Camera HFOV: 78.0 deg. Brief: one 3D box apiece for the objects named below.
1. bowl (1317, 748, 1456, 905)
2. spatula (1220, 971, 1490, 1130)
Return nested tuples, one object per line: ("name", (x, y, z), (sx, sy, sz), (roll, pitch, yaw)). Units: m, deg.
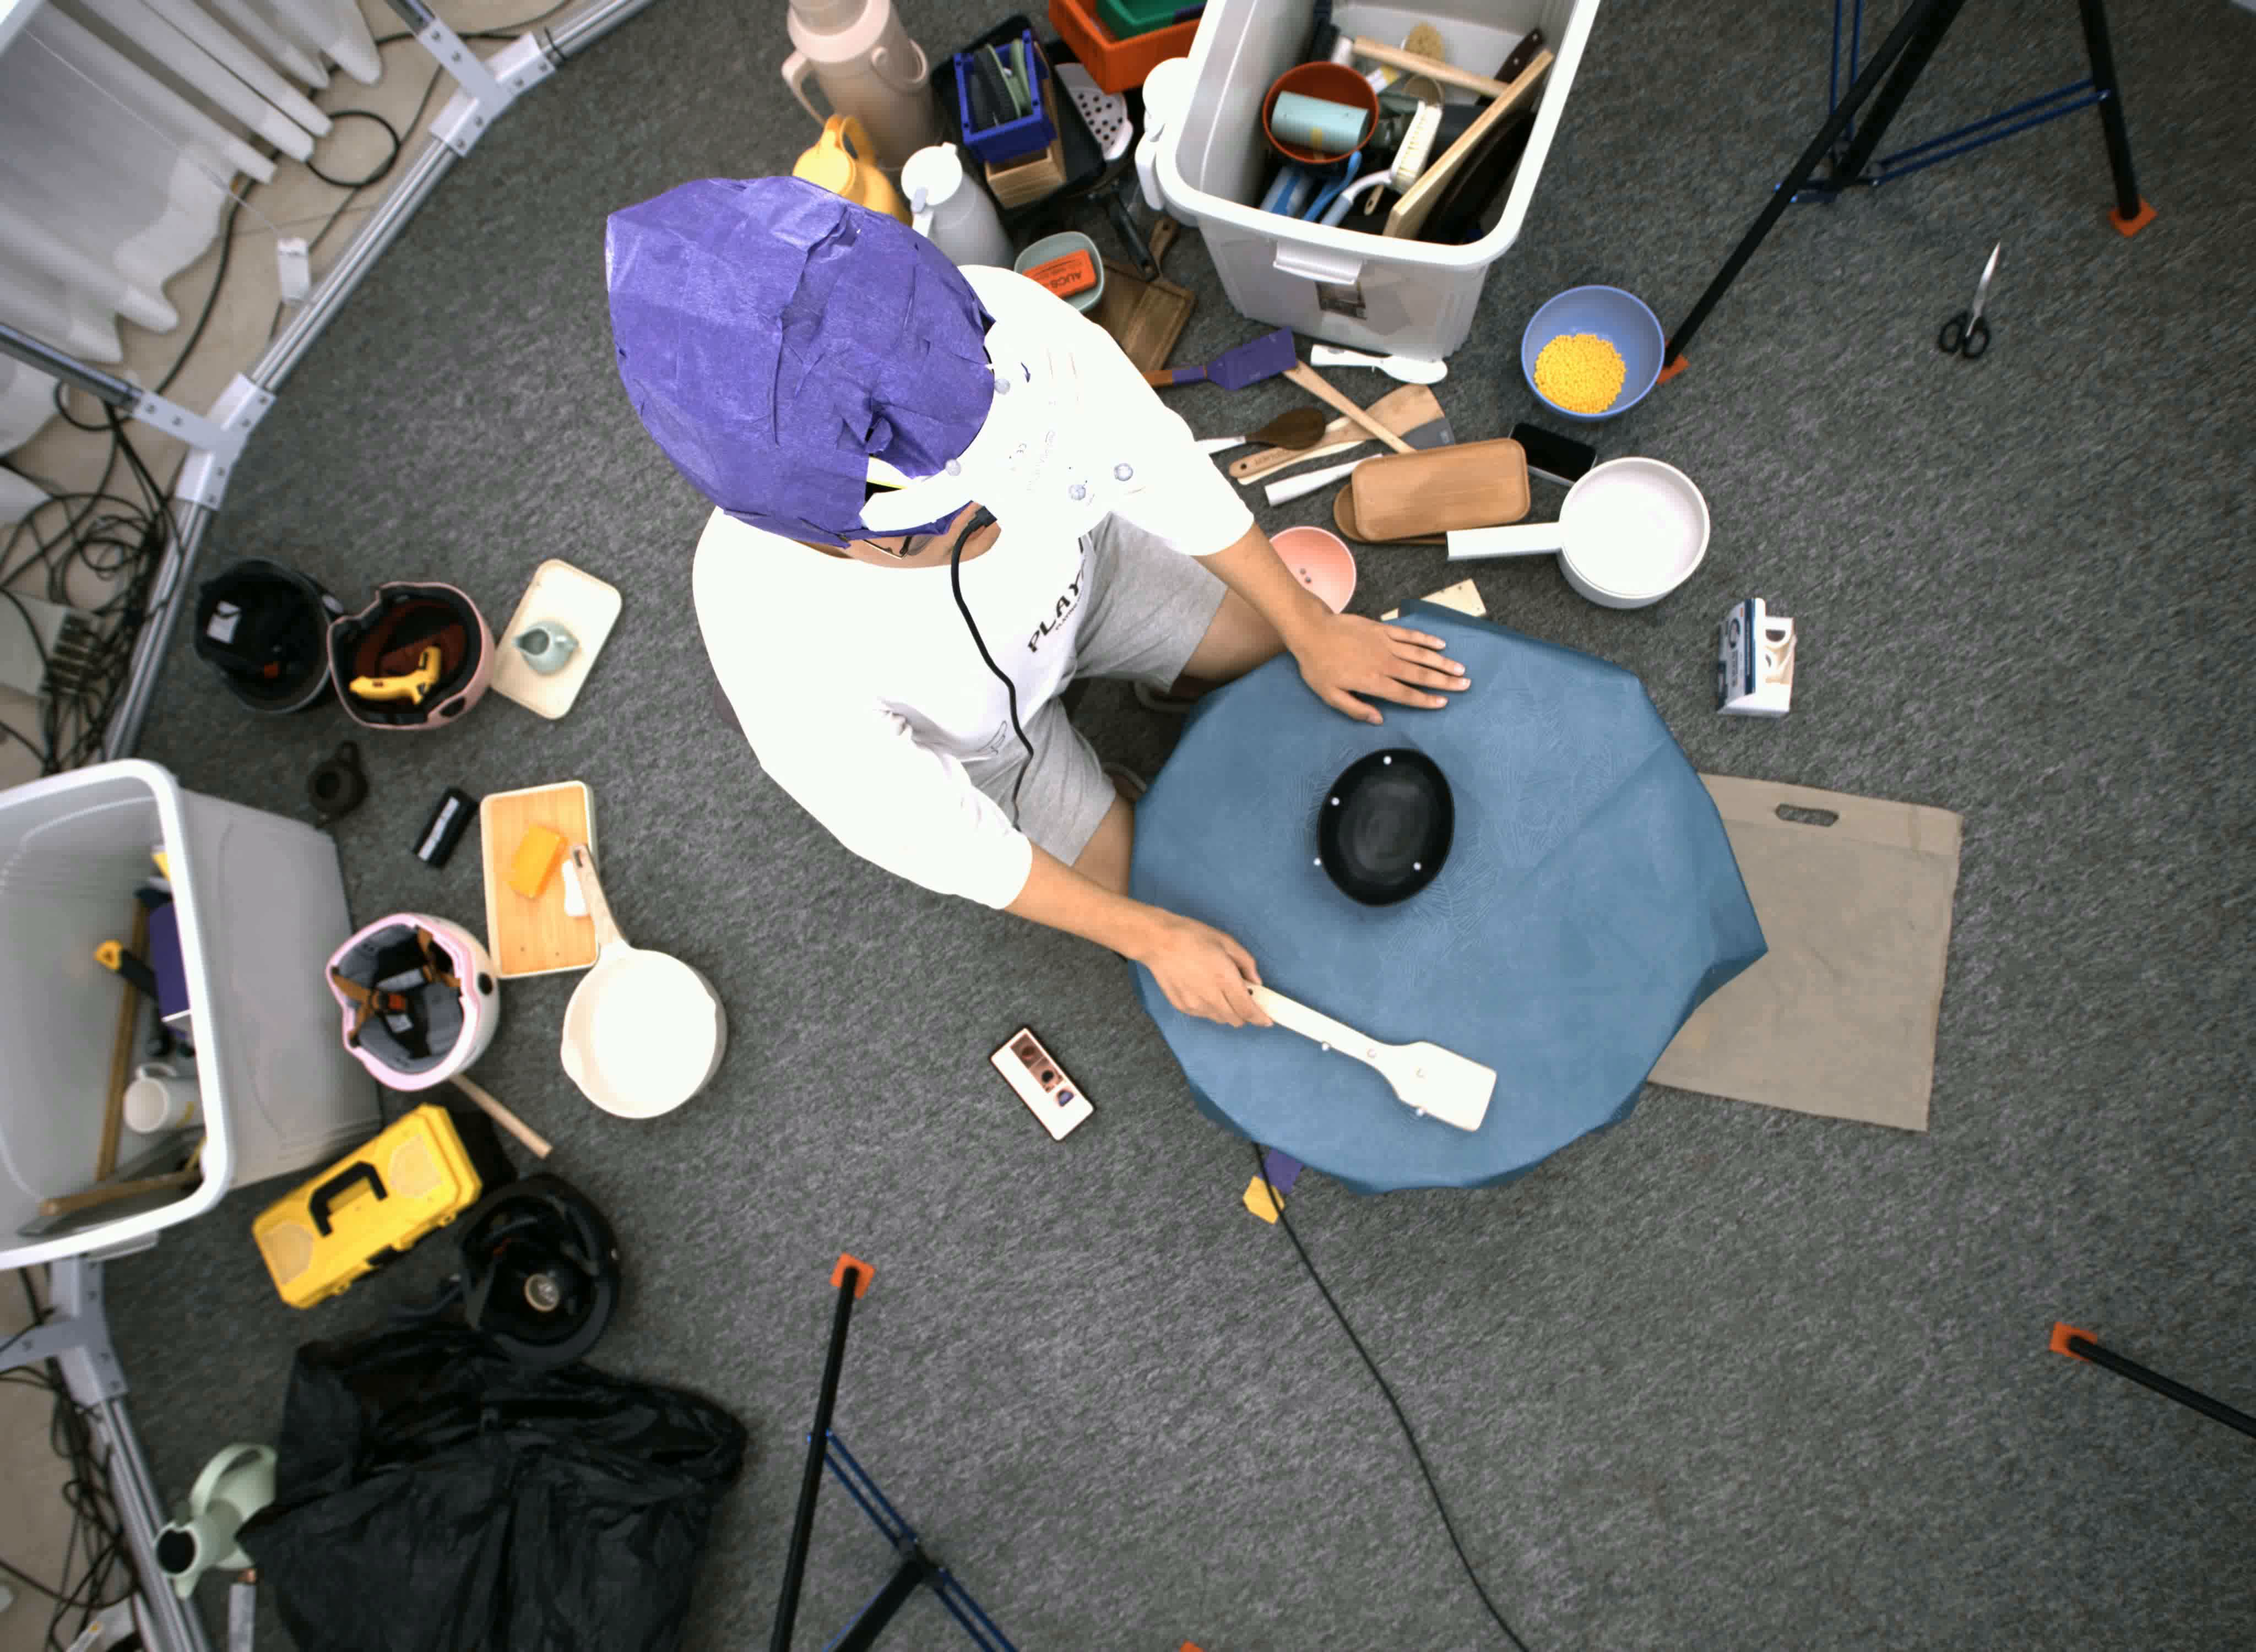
("bowl", (0.268, 0.000, 1.432), (0.137, 0.067, 0.170), (18, 88, 12))
("spatula", (0.230, 0.222, 1.434), (0.293, 0.011, 0.071), (25, 69, 7))
